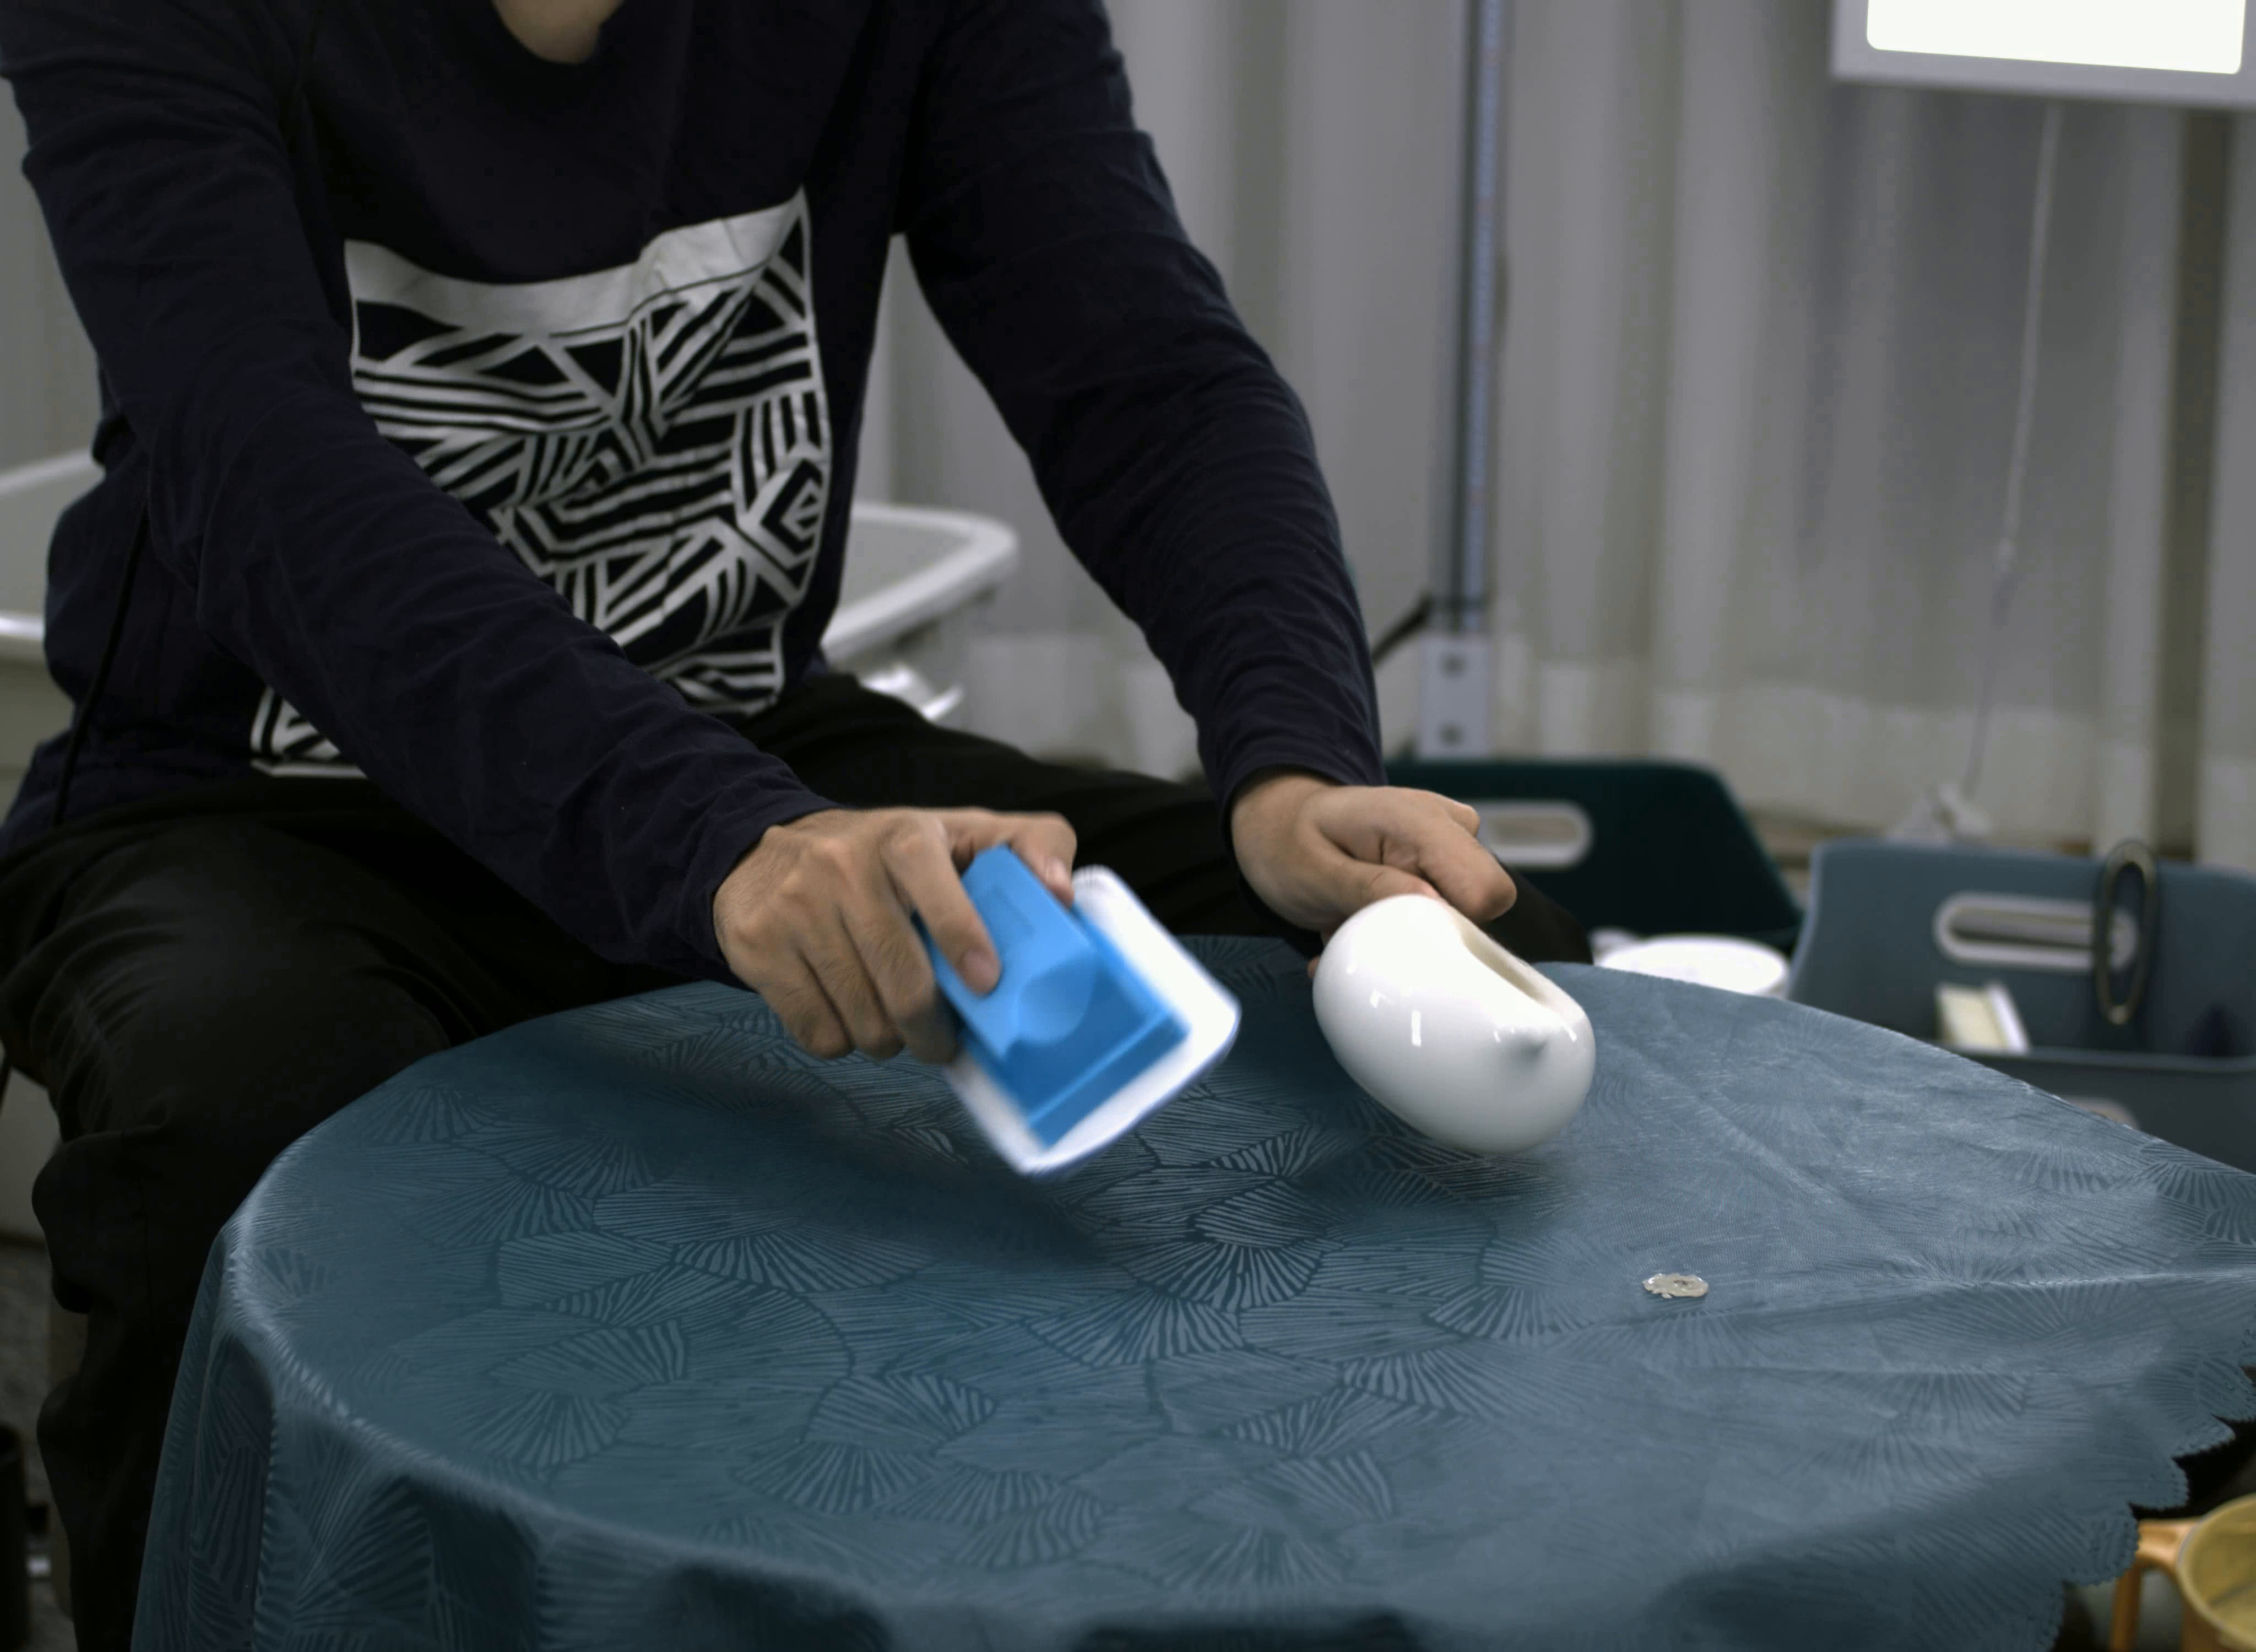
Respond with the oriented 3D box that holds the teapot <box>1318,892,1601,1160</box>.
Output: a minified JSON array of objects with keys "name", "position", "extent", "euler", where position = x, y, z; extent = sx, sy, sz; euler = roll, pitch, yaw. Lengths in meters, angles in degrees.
[{"name":"teapot","position":[0.100,0.059,1.647],"extent":[0.094,0.057,0.126],"euler":[26,15,-27]}]

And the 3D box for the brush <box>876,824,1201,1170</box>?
[{"name":"brush","position":[-0.034,0.046,1.597],"extent":[0.084,0.056,0.142],"euler":[-32,30,-2]}]
